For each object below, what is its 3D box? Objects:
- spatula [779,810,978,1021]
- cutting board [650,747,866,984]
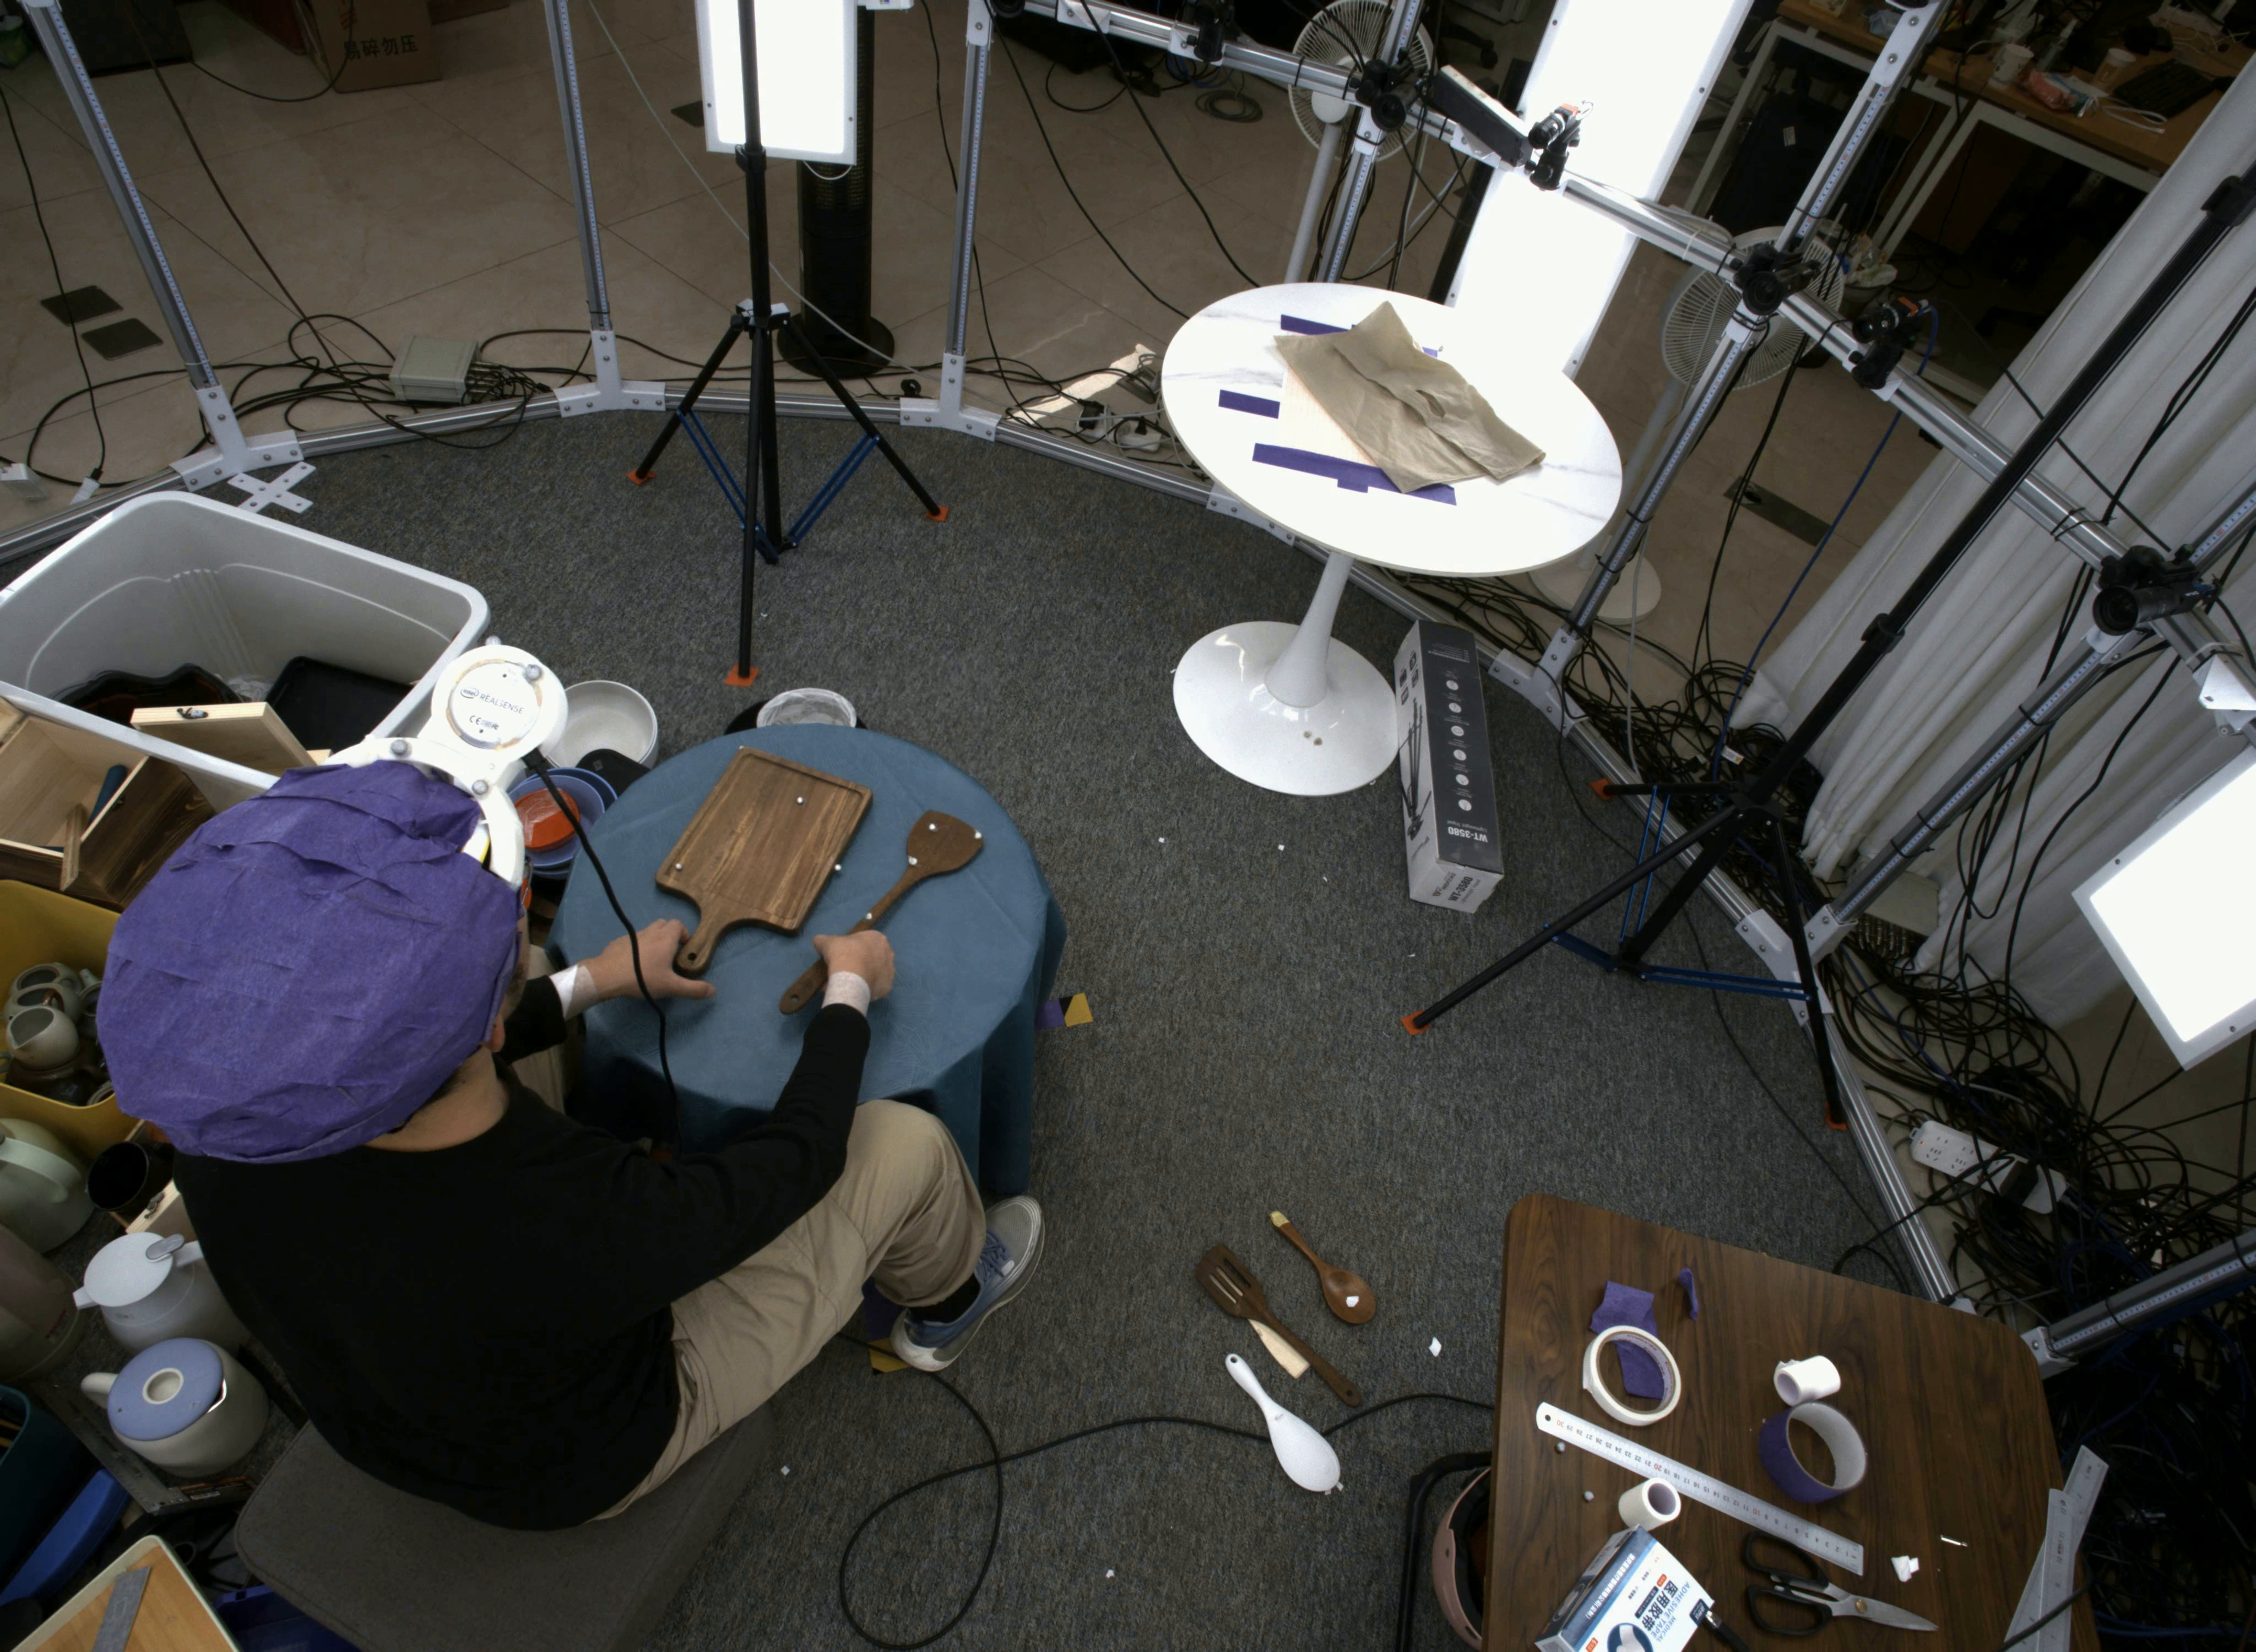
[{"bbox_3d":[-0.319,0.107,1.644,0.094,0.016,0.384,29,47,8],"label":"spatula"},{"bbox_3d":[-0.489,0.051,1.650,0.199,0.023,0.348,19,51,0],"label":"cutting board"}]
